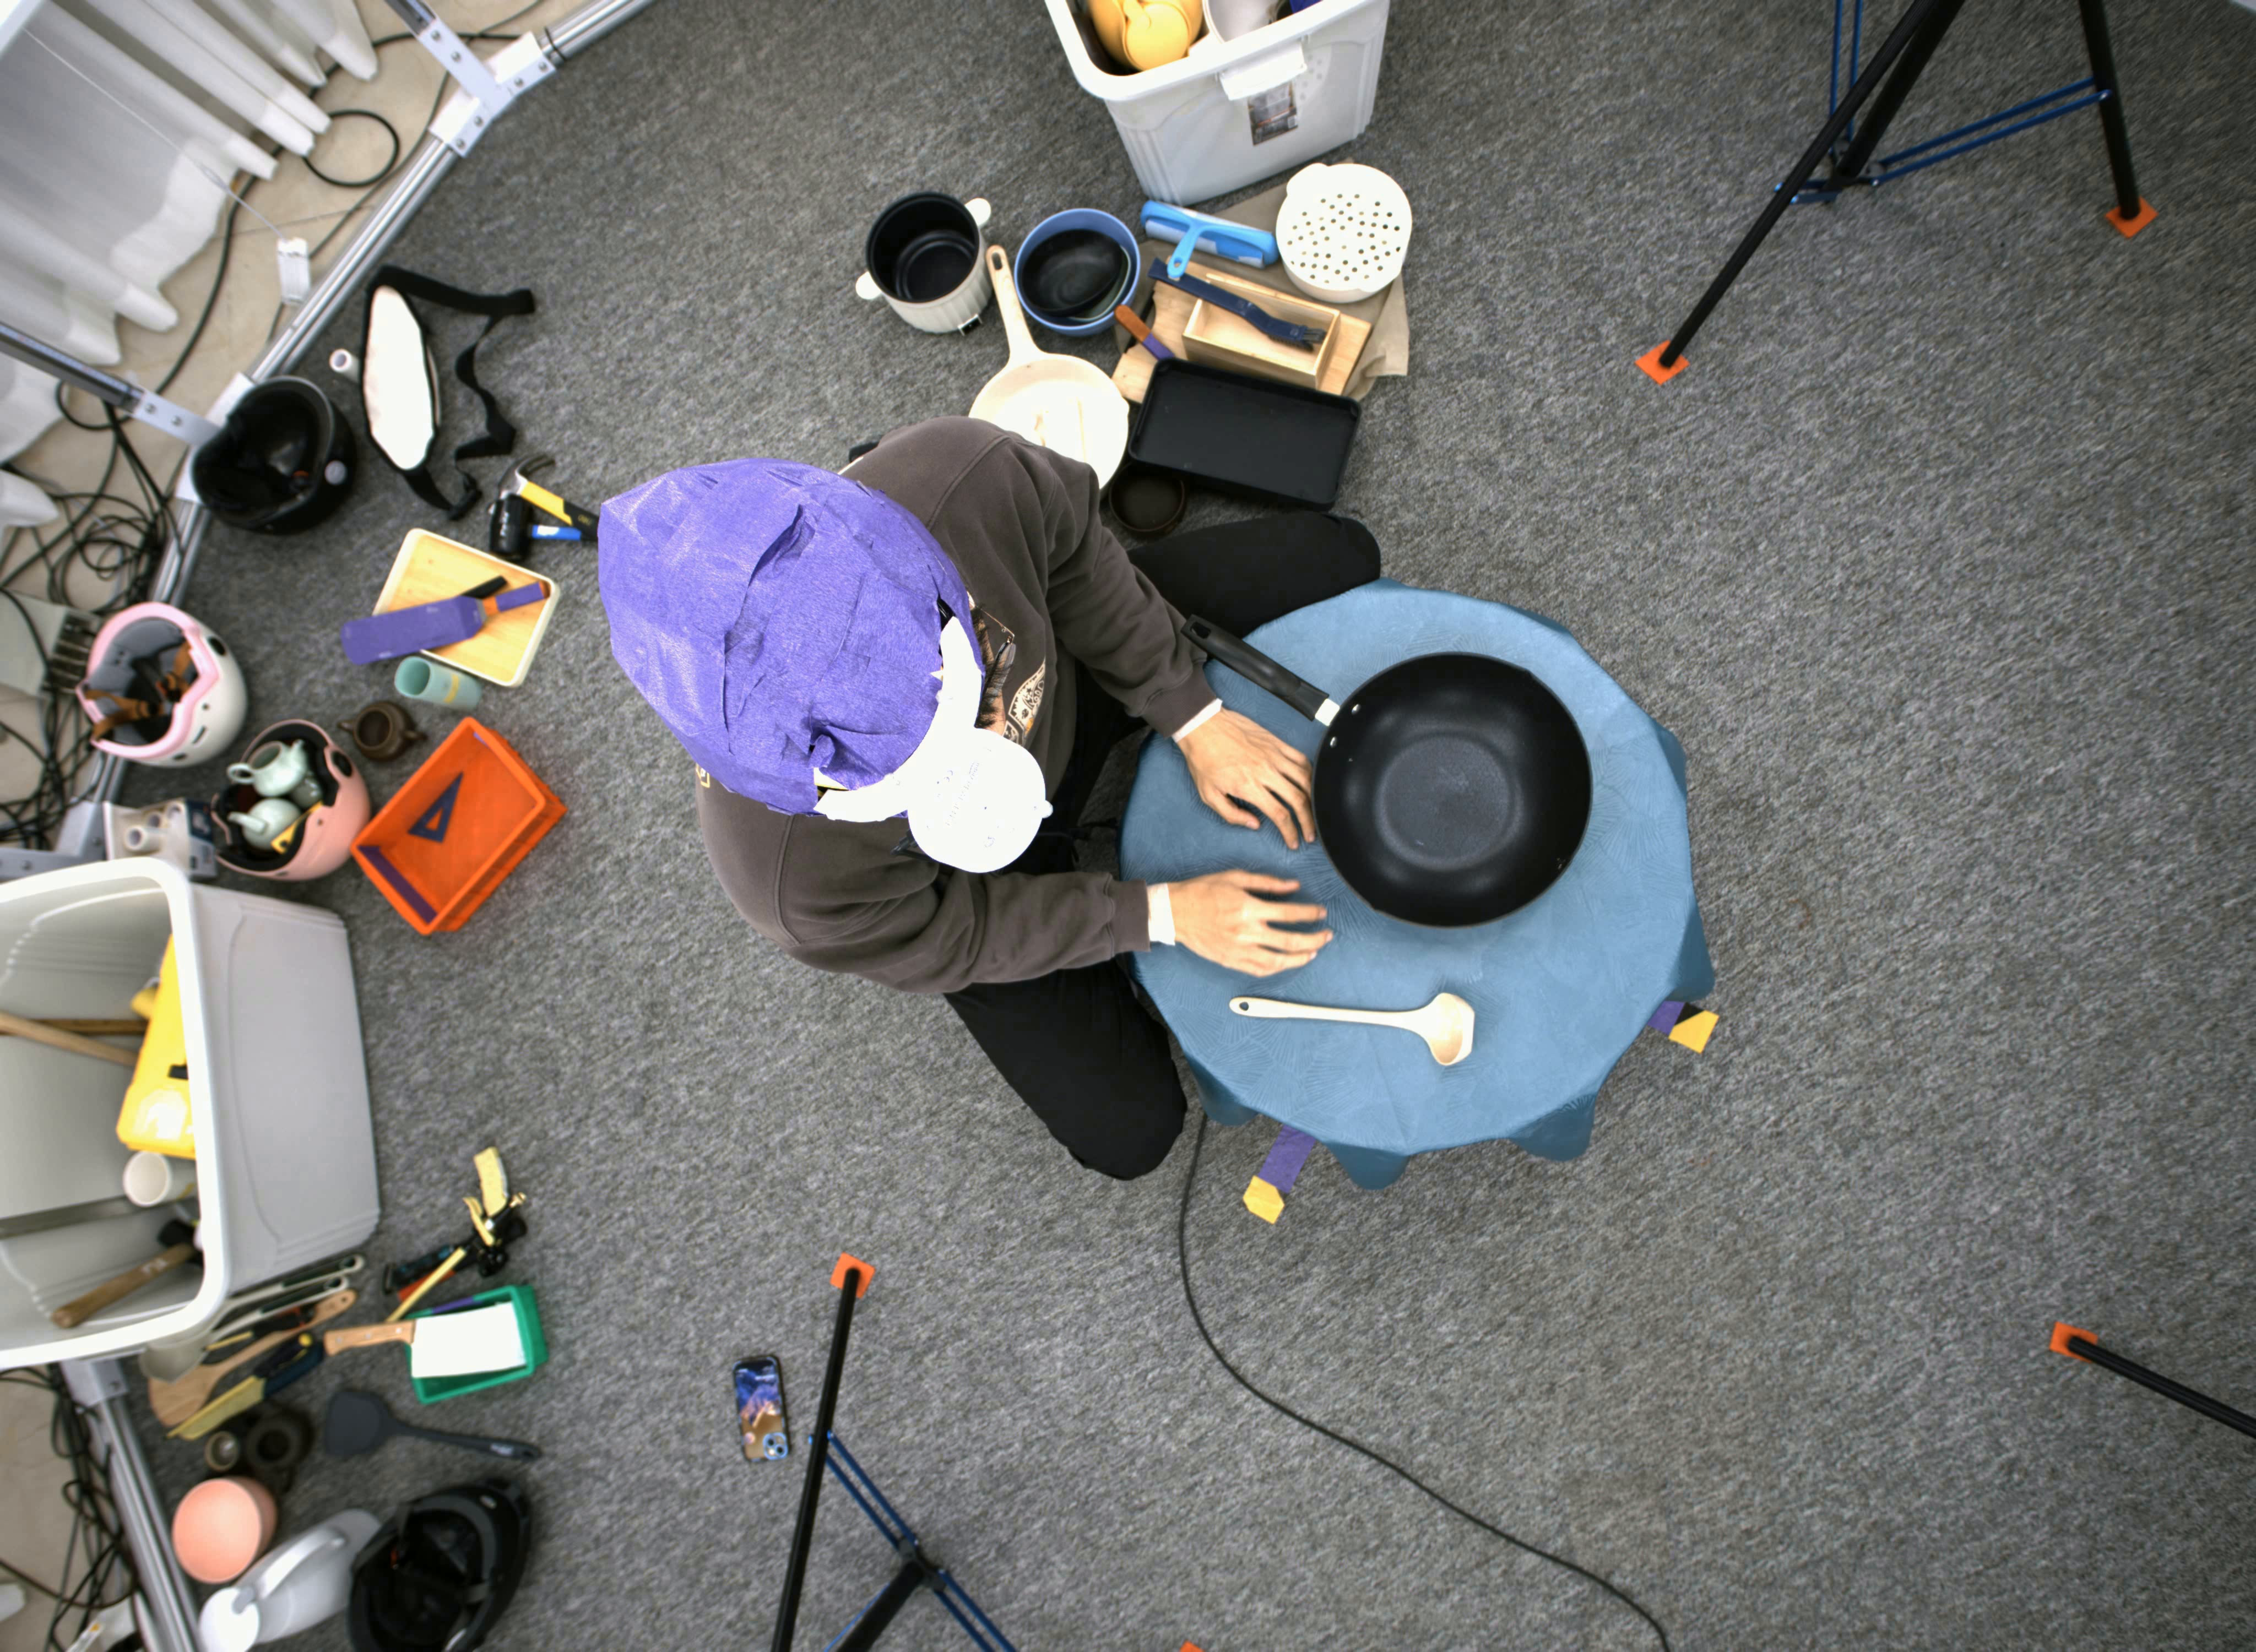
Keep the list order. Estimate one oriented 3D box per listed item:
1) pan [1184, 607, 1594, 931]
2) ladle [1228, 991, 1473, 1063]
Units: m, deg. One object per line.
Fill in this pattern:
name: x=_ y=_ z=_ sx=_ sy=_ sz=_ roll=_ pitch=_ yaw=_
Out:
pan: x=0.253 y=-0.084 z=1.426 sx=0.462 sy=0.087 sz=0.289 roll=34 pitch=94 yaw=11
ladle: x=0.226 y=0.201 z=1.423 sx=0.255 sy=0.072 sz=0.072 roll=1 pitch=96 yaw=10
